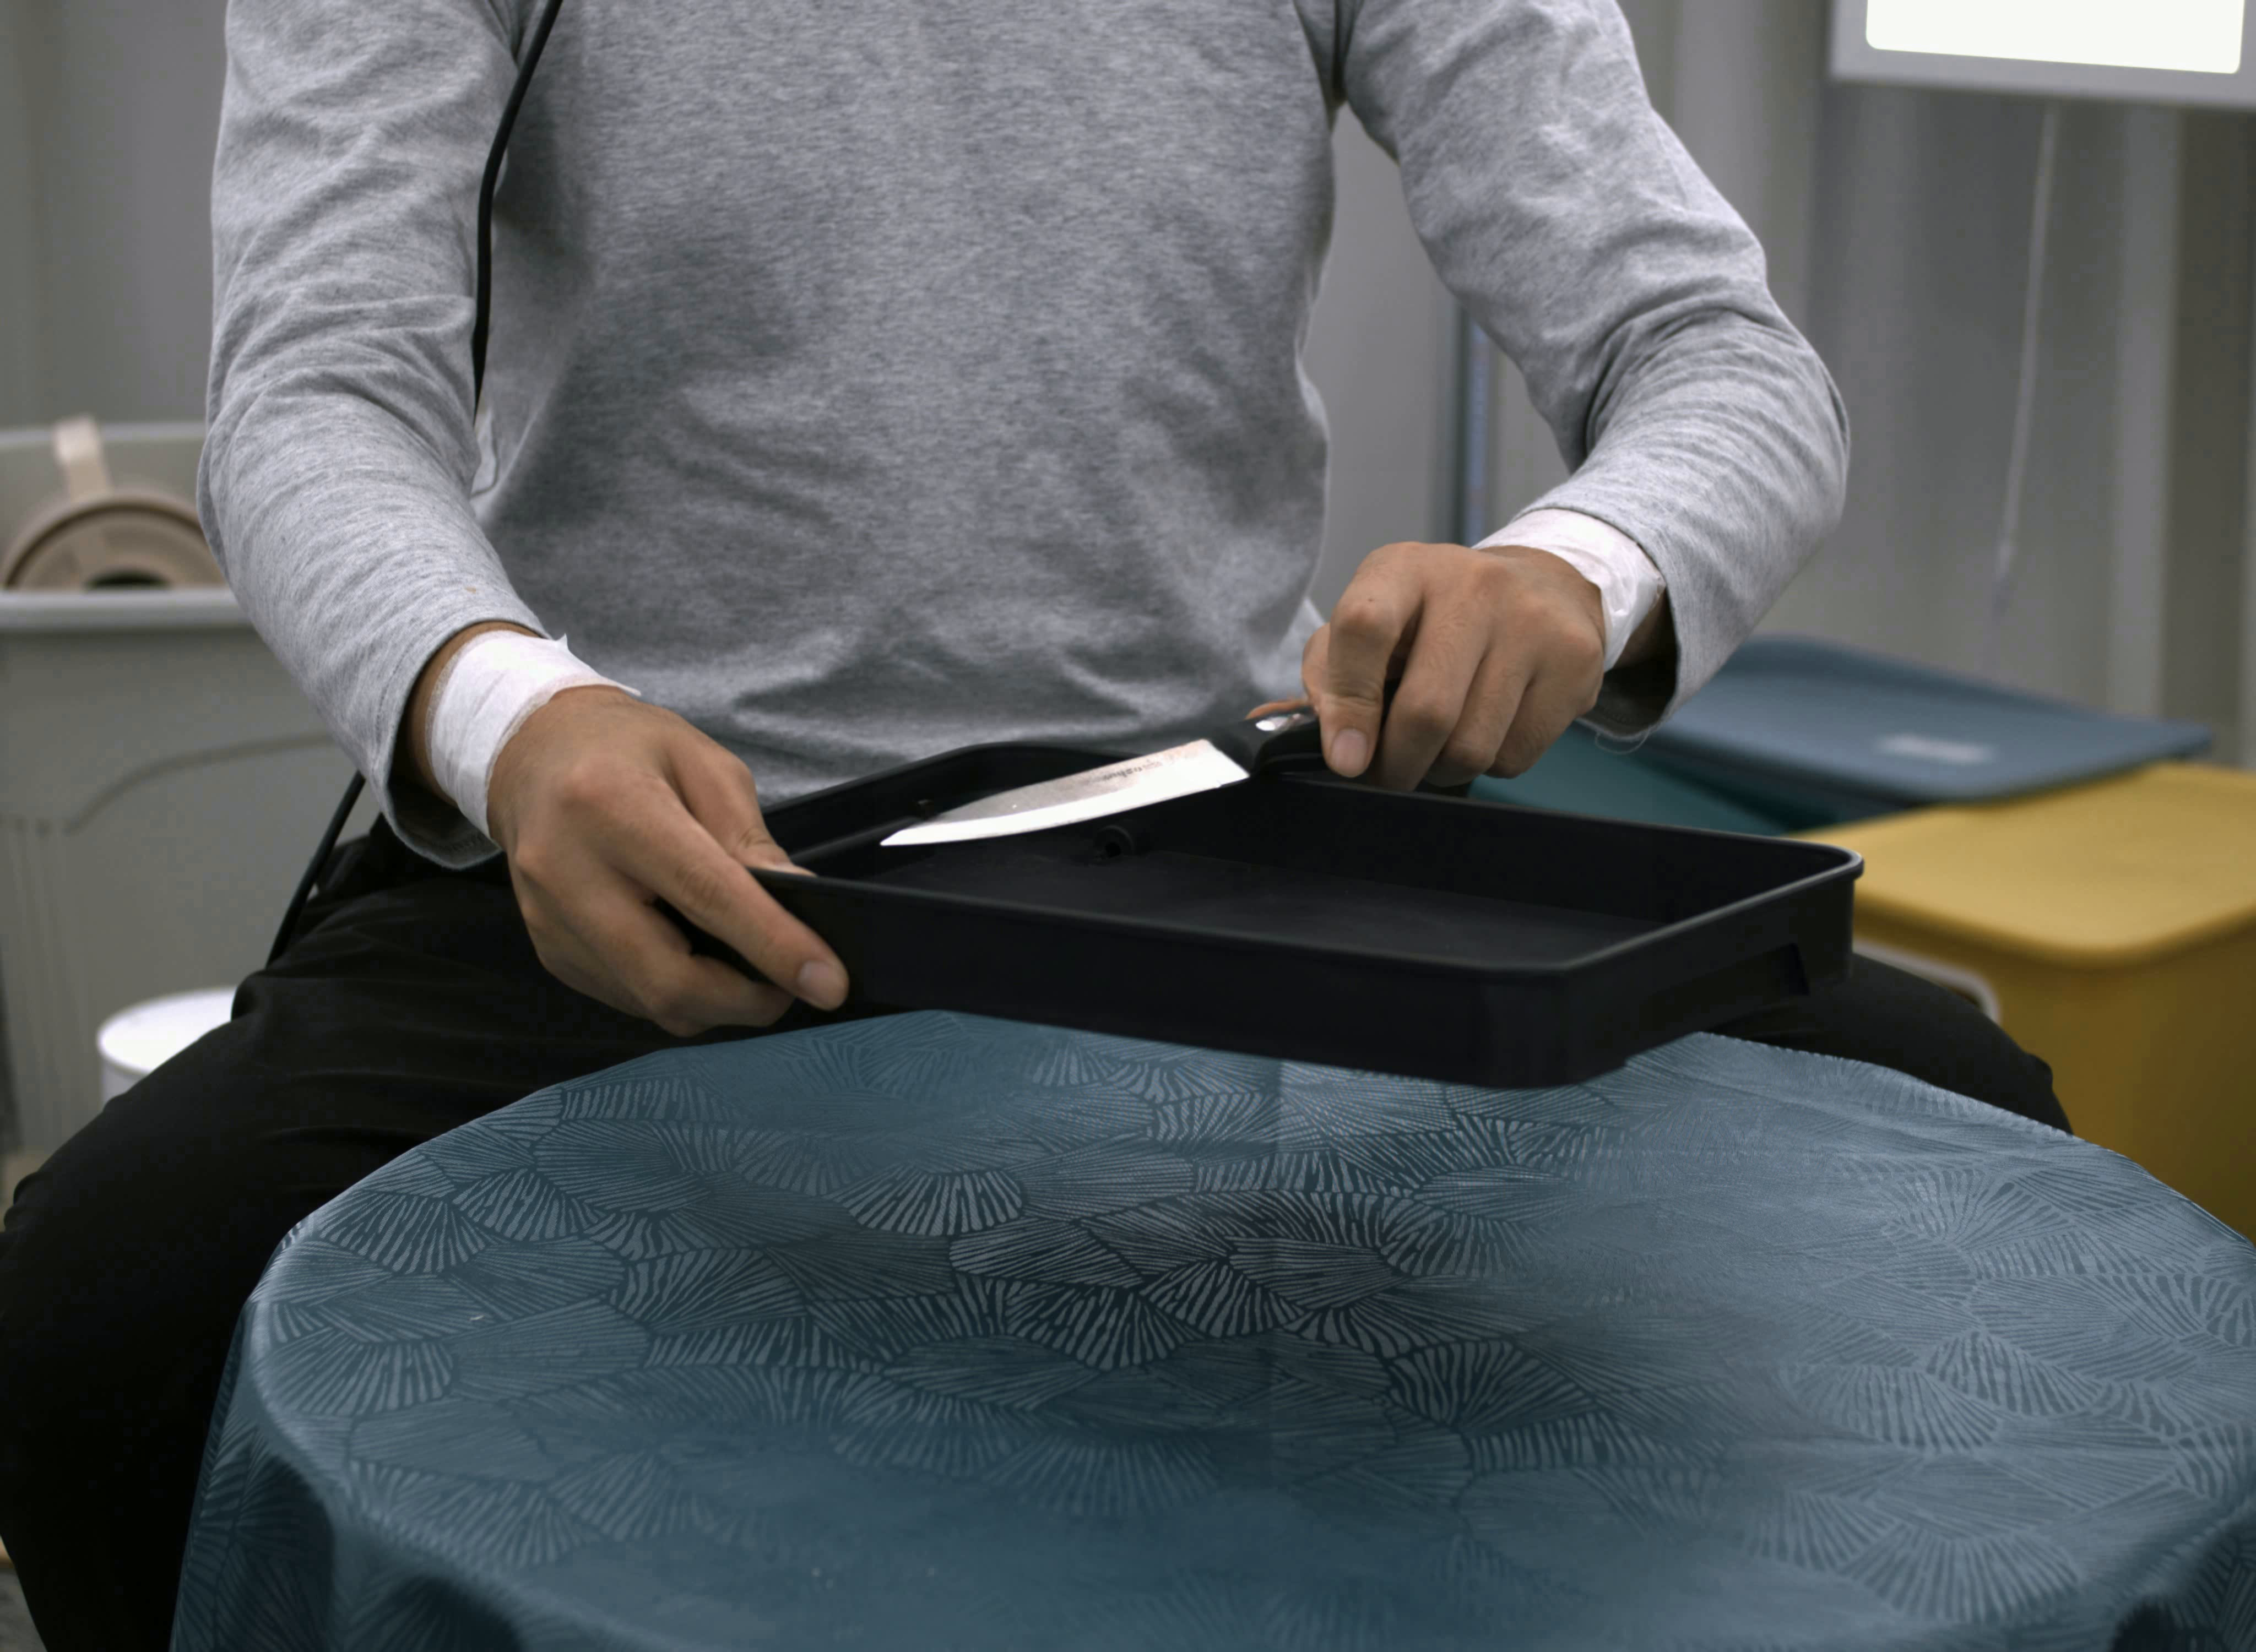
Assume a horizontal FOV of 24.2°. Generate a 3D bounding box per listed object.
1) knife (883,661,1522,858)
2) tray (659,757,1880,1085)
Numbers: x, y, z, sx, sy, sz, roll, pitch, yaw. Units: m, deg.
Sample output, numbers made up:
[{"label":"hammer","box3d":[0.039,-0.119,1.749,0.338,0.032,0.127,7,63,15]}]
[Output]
[{"label":"knife","box3d":[0.023,-0.019,1.581,0.239,0.016,0.024,-15,41,-34]},{"label":"tray","box3d":[0.038,0.023,1.495,0.314,0.037,0.185,6,13,34]}]
